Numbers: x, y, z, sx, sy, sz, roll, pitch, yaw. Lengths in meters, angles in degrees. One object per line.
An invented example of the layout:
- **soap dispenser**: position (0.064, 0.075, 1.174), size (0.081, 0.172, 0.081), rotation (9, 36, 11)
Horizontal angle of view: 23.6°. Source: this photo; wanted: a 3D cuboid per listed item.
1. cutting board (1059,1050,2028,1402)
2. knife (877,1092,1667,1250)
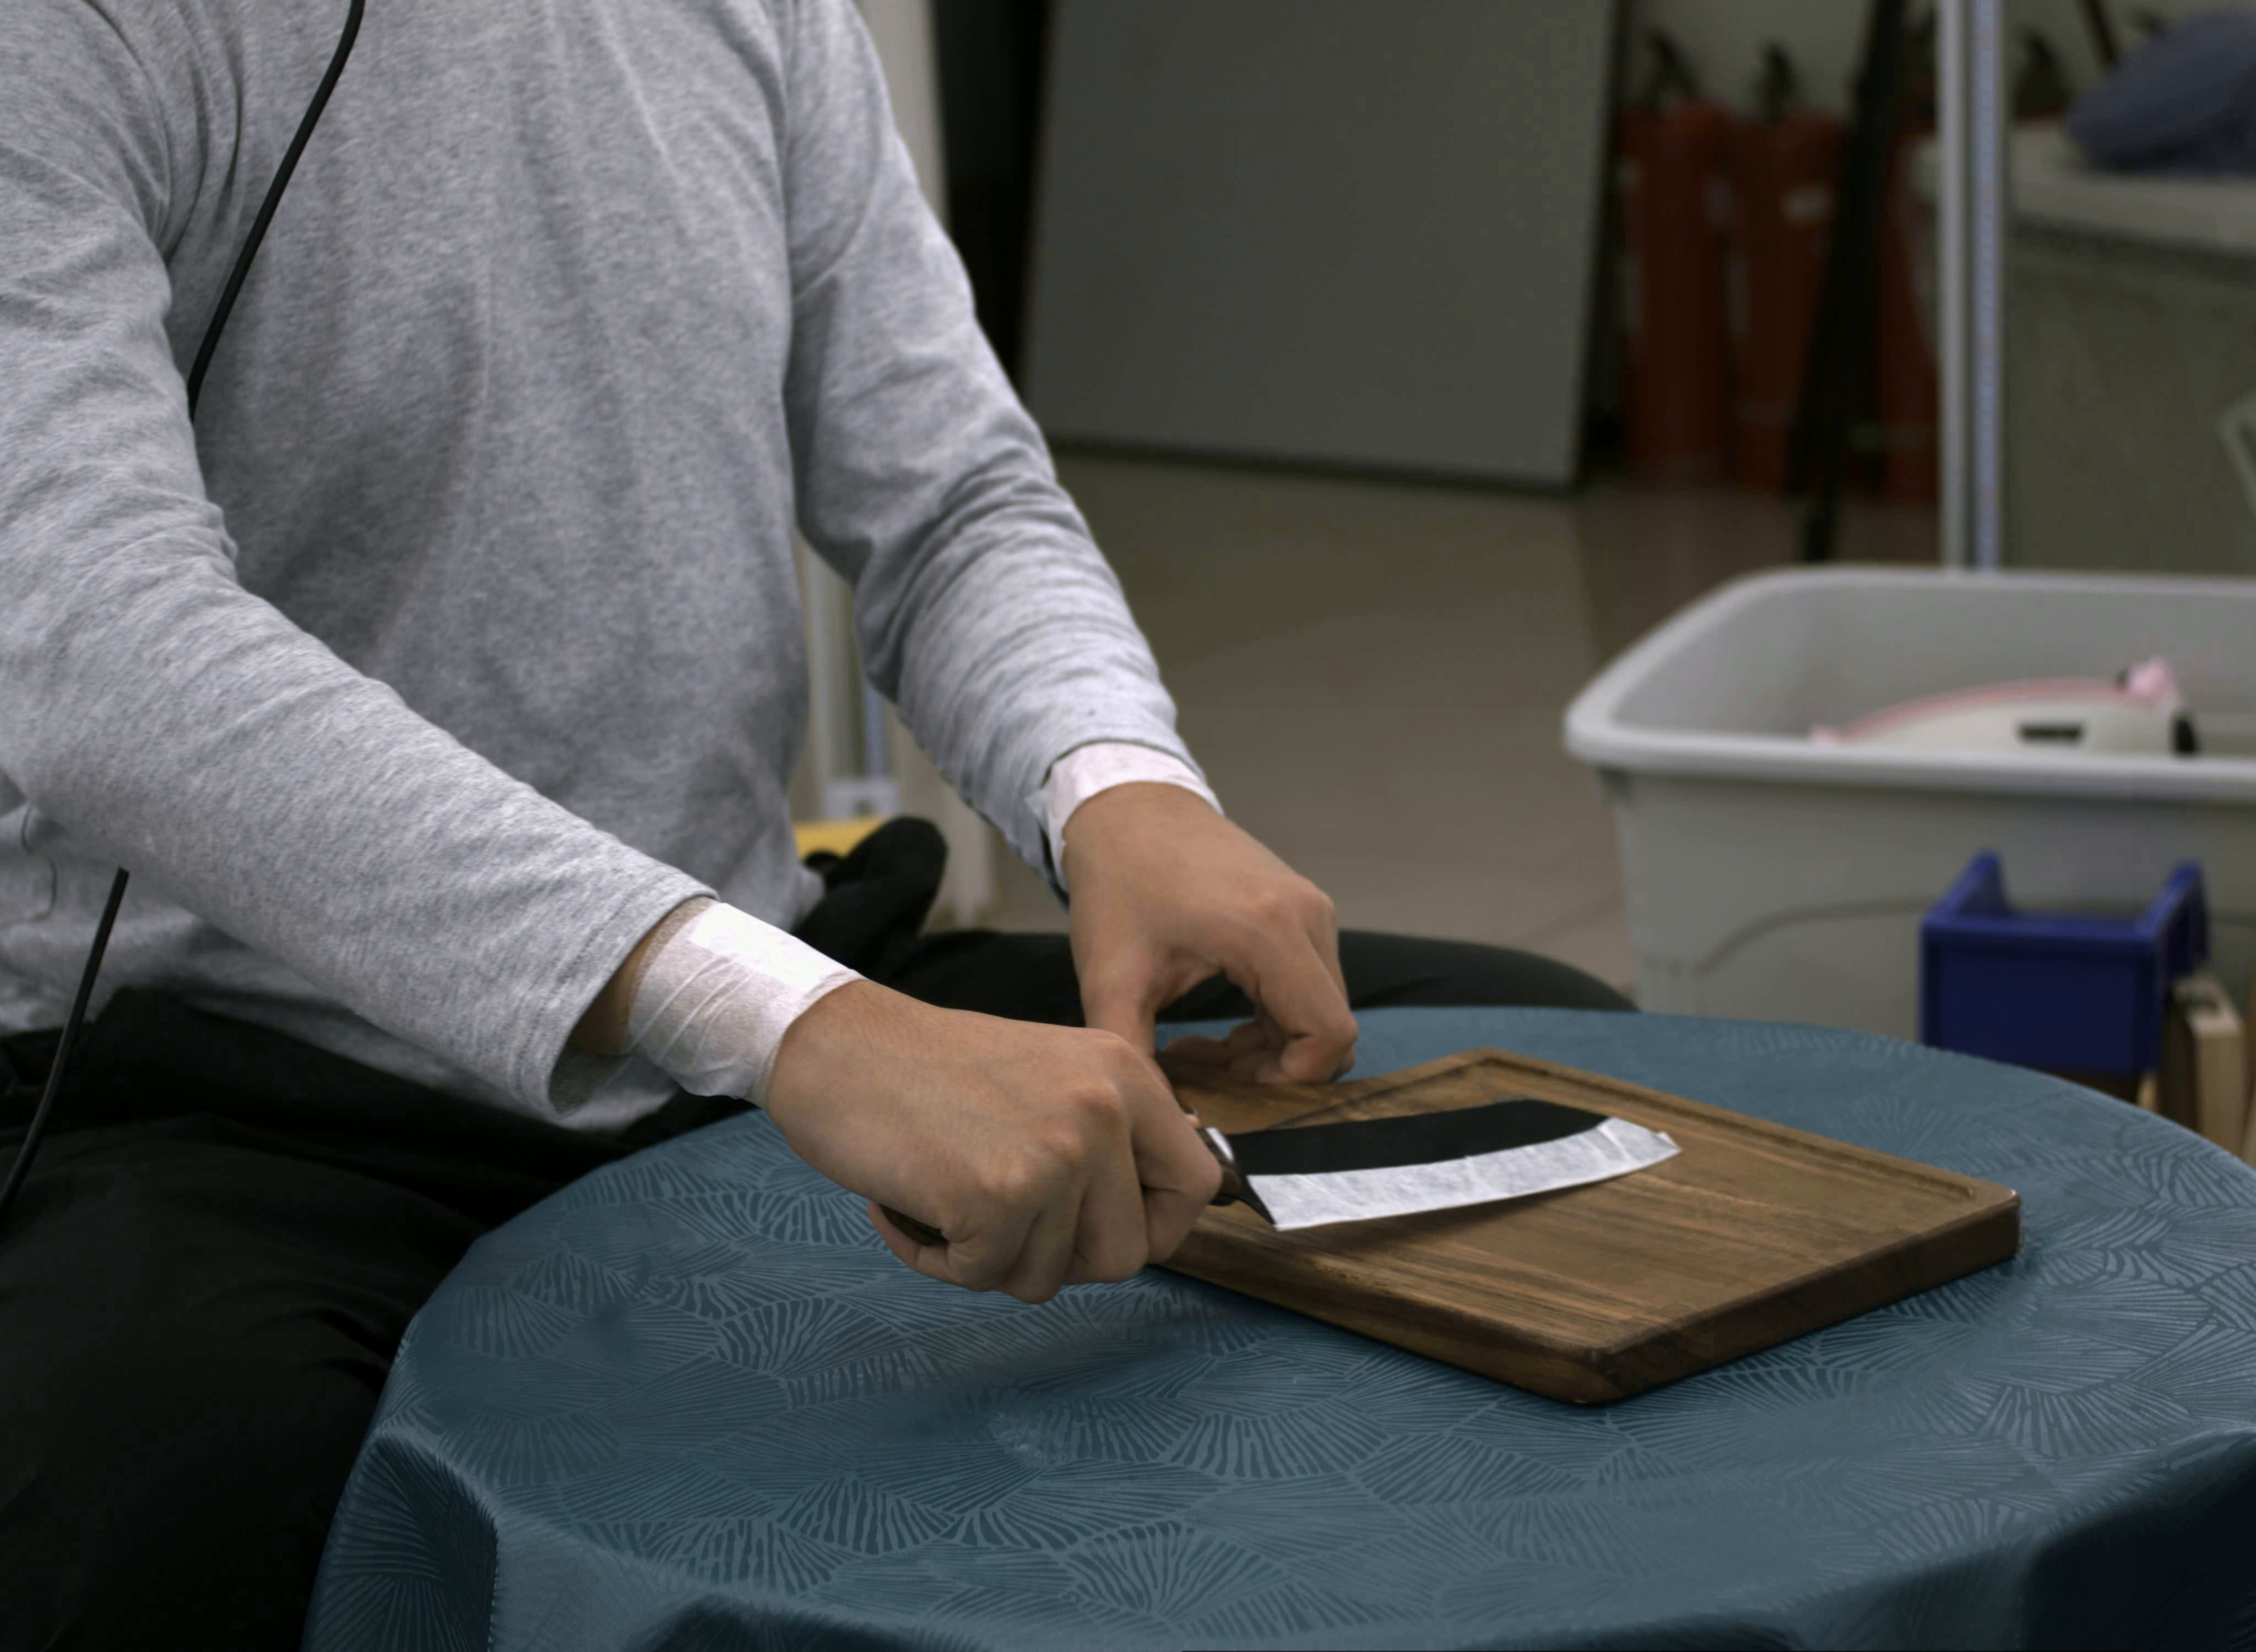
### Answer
- **cutting board**: position (0.097, 0.114, 1.729), size (0.196, 0.023, 0.356), rotation (-13, 17, -37)
- **knife**: position (0.051, 0.106, 1.658), size (0.282, 0.020, 0.051), rotation (-3, 40, -30)
